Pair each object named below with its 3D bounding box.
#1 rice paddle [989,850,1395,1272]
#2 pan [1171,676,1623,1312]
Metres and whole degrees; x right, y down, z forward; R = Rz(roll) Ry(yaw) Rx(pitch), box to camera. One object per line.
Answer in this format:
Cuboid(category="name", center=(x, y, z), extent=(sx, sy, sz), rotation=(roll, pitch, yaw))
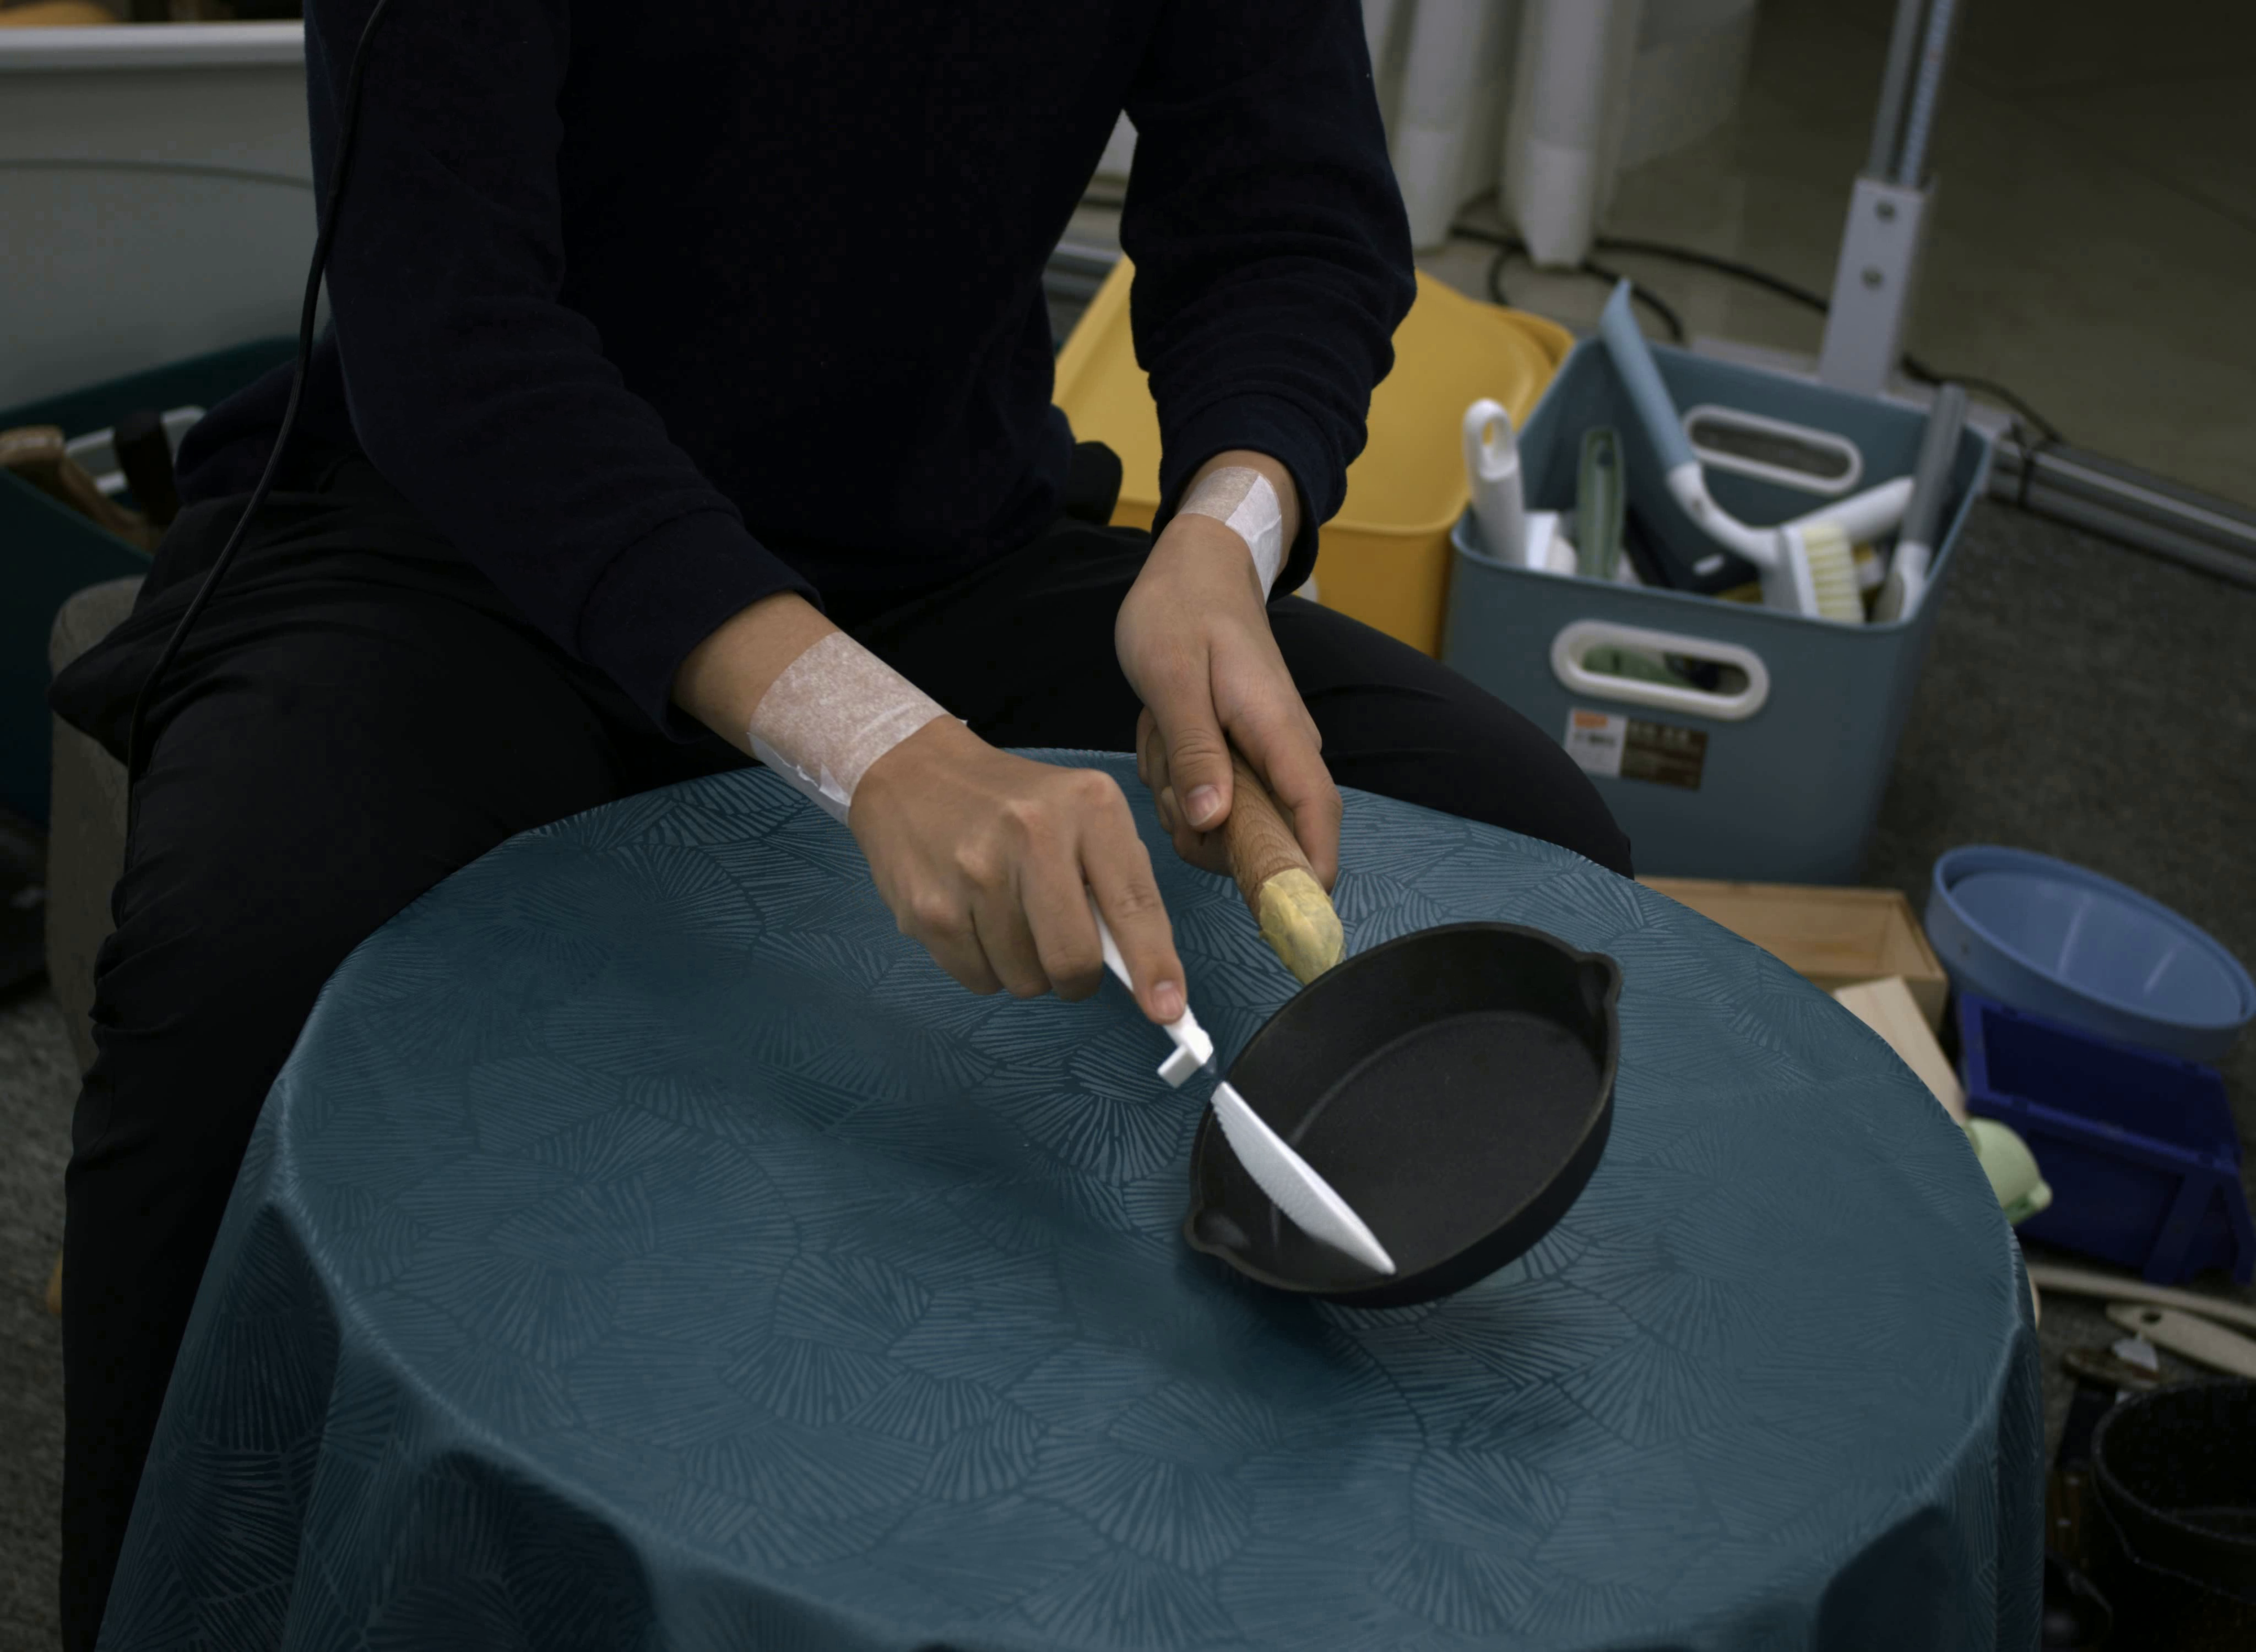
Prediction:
Cuboid(category="rice paddle", center=(0.024, 0.078, 1.744), extent=(0.207, 0.029, 0.068), rotation=(45, 0, 36))
Cuboid(category="pan", center=(0.072, 0.050, 1.825), extent=(0.169, 0.049, 0.327), rotation=(-32, 37, 5))
